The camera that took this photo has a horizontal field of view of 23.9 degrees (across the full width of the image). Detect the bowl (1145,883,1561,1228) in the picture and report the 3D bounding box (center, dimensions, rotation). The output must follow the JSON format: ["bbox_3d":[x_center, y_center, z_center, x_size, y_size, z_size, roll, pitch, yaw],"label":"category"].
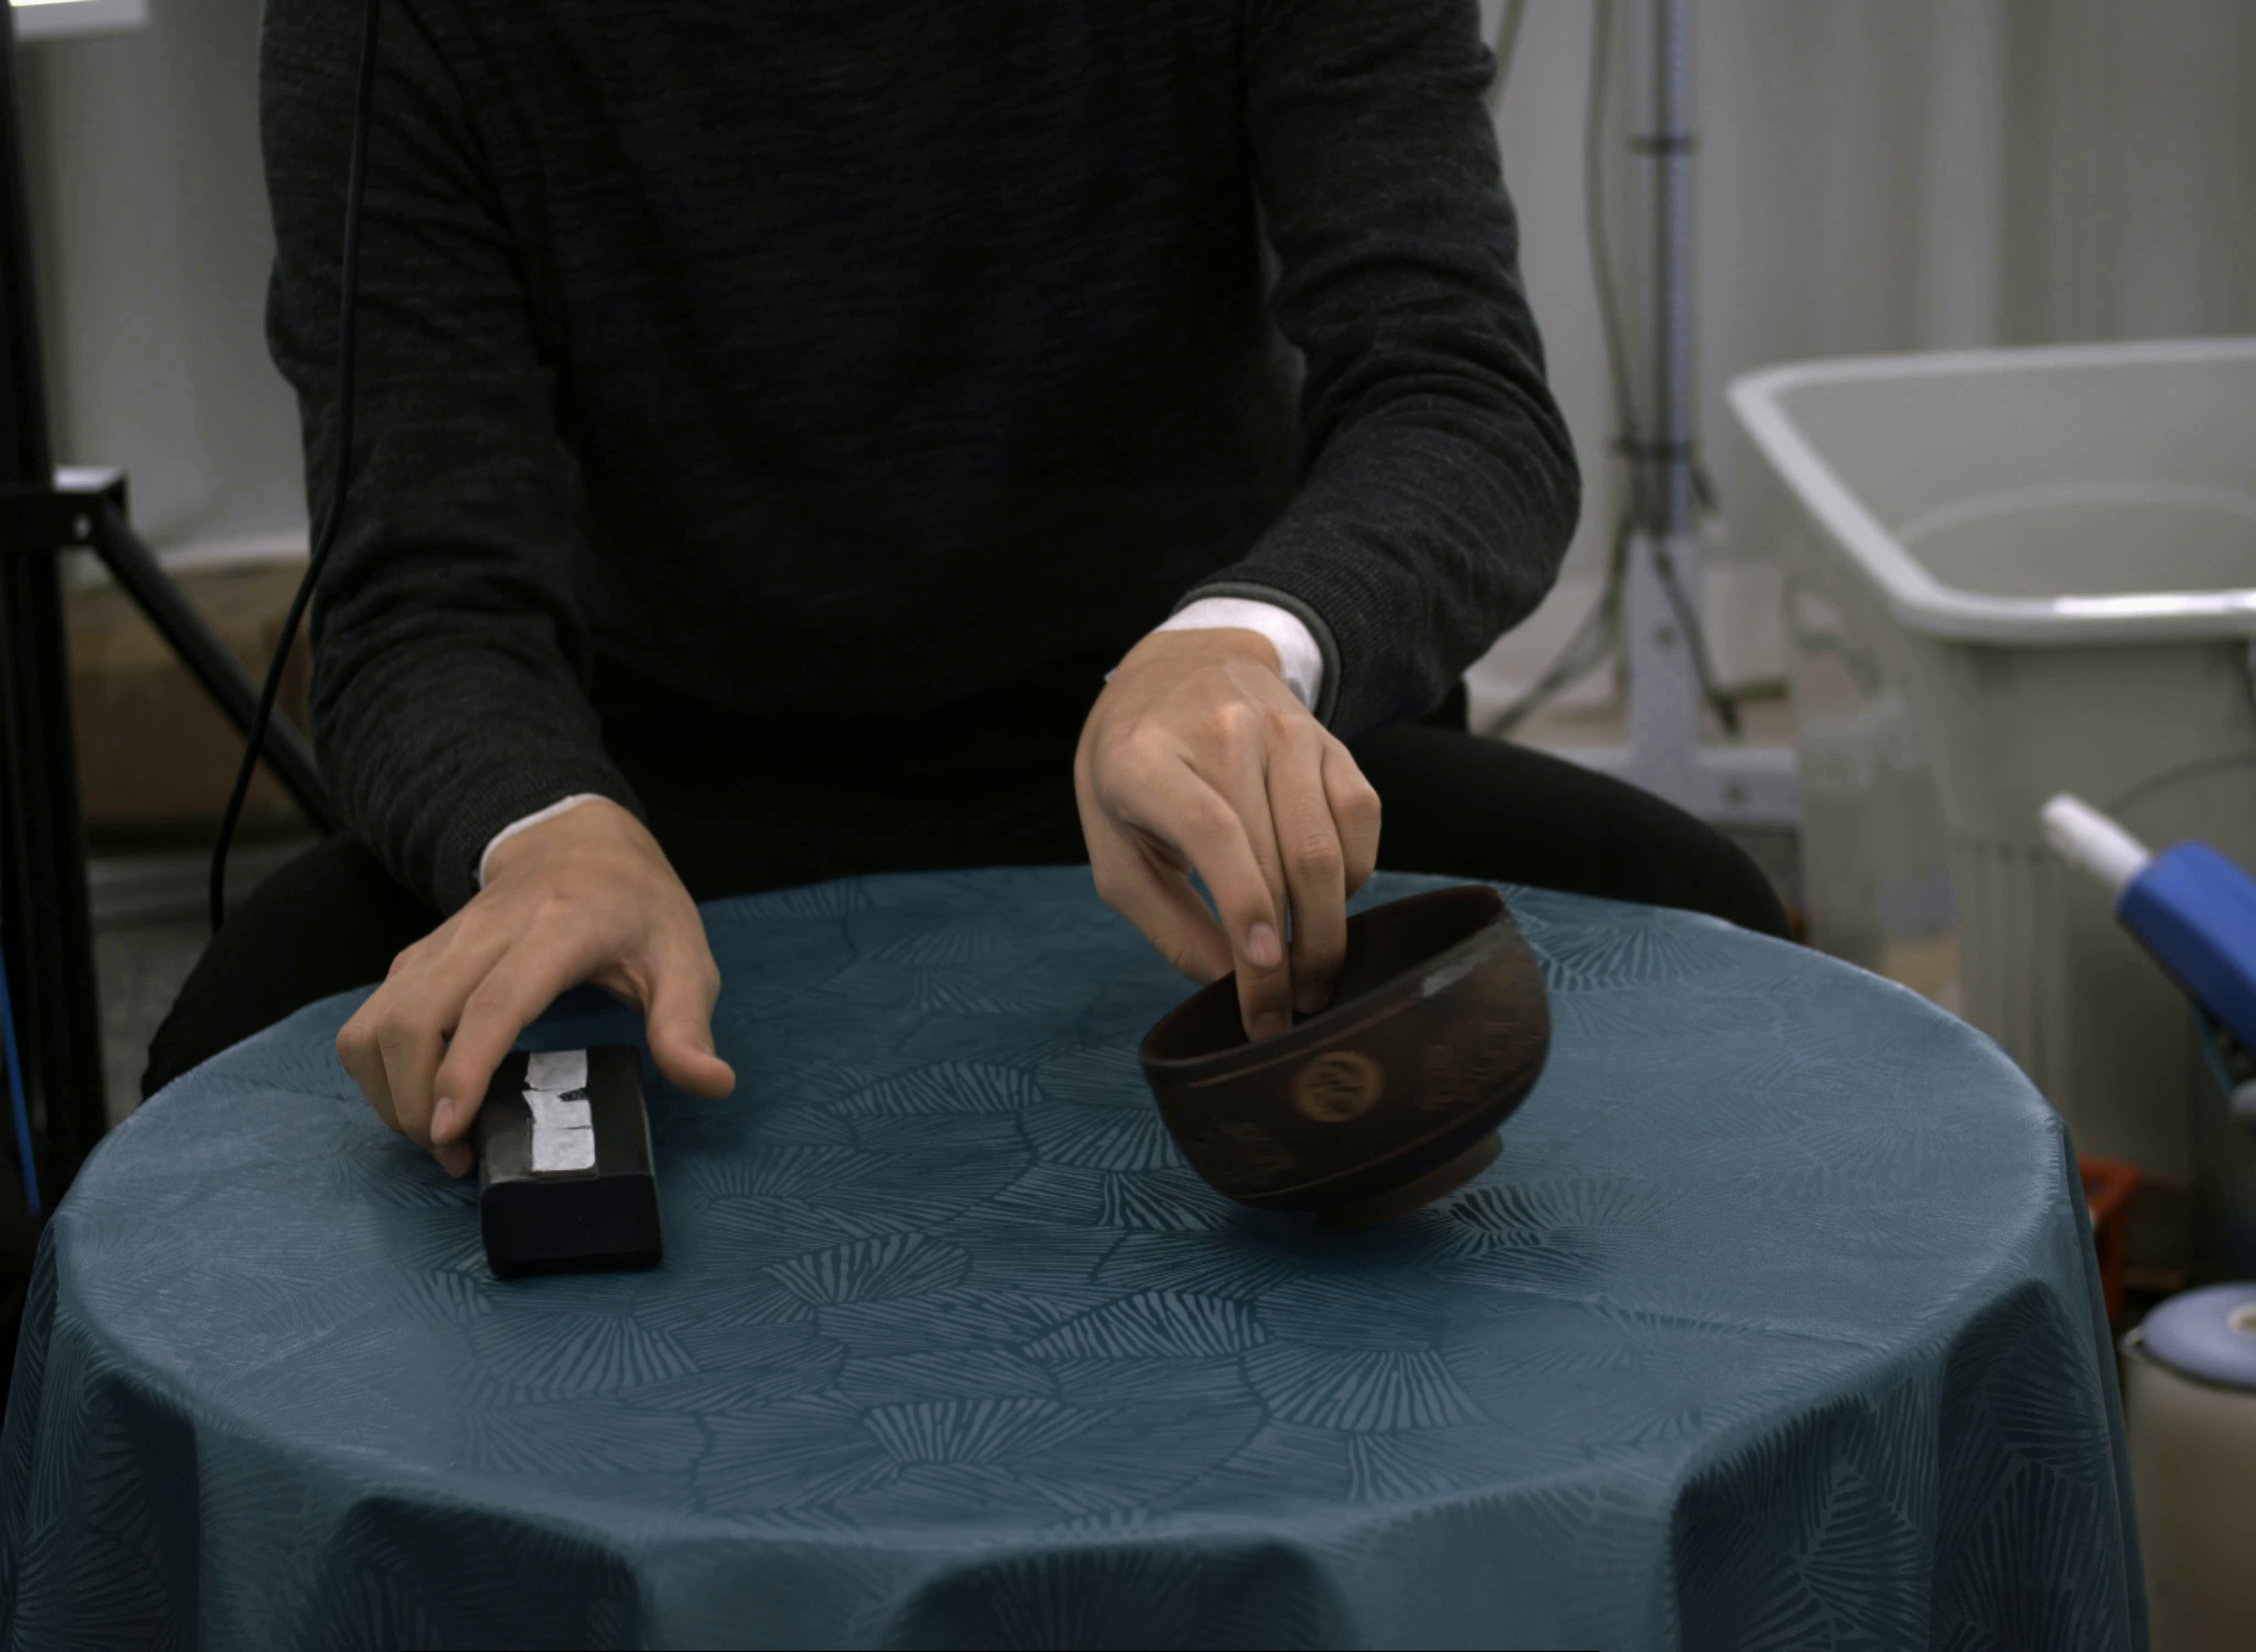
[{"bbox_3d":[0.070,0.072,1.517,0.118,0.070,0.118,-23,10,2],"label":"bowl"}]

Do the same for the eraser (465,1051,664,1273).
[{"bbox_3d":[-0.166,0.098,1.567,0.053,0.030,0.127,-2,15,-8],"label":"eraser"}]
